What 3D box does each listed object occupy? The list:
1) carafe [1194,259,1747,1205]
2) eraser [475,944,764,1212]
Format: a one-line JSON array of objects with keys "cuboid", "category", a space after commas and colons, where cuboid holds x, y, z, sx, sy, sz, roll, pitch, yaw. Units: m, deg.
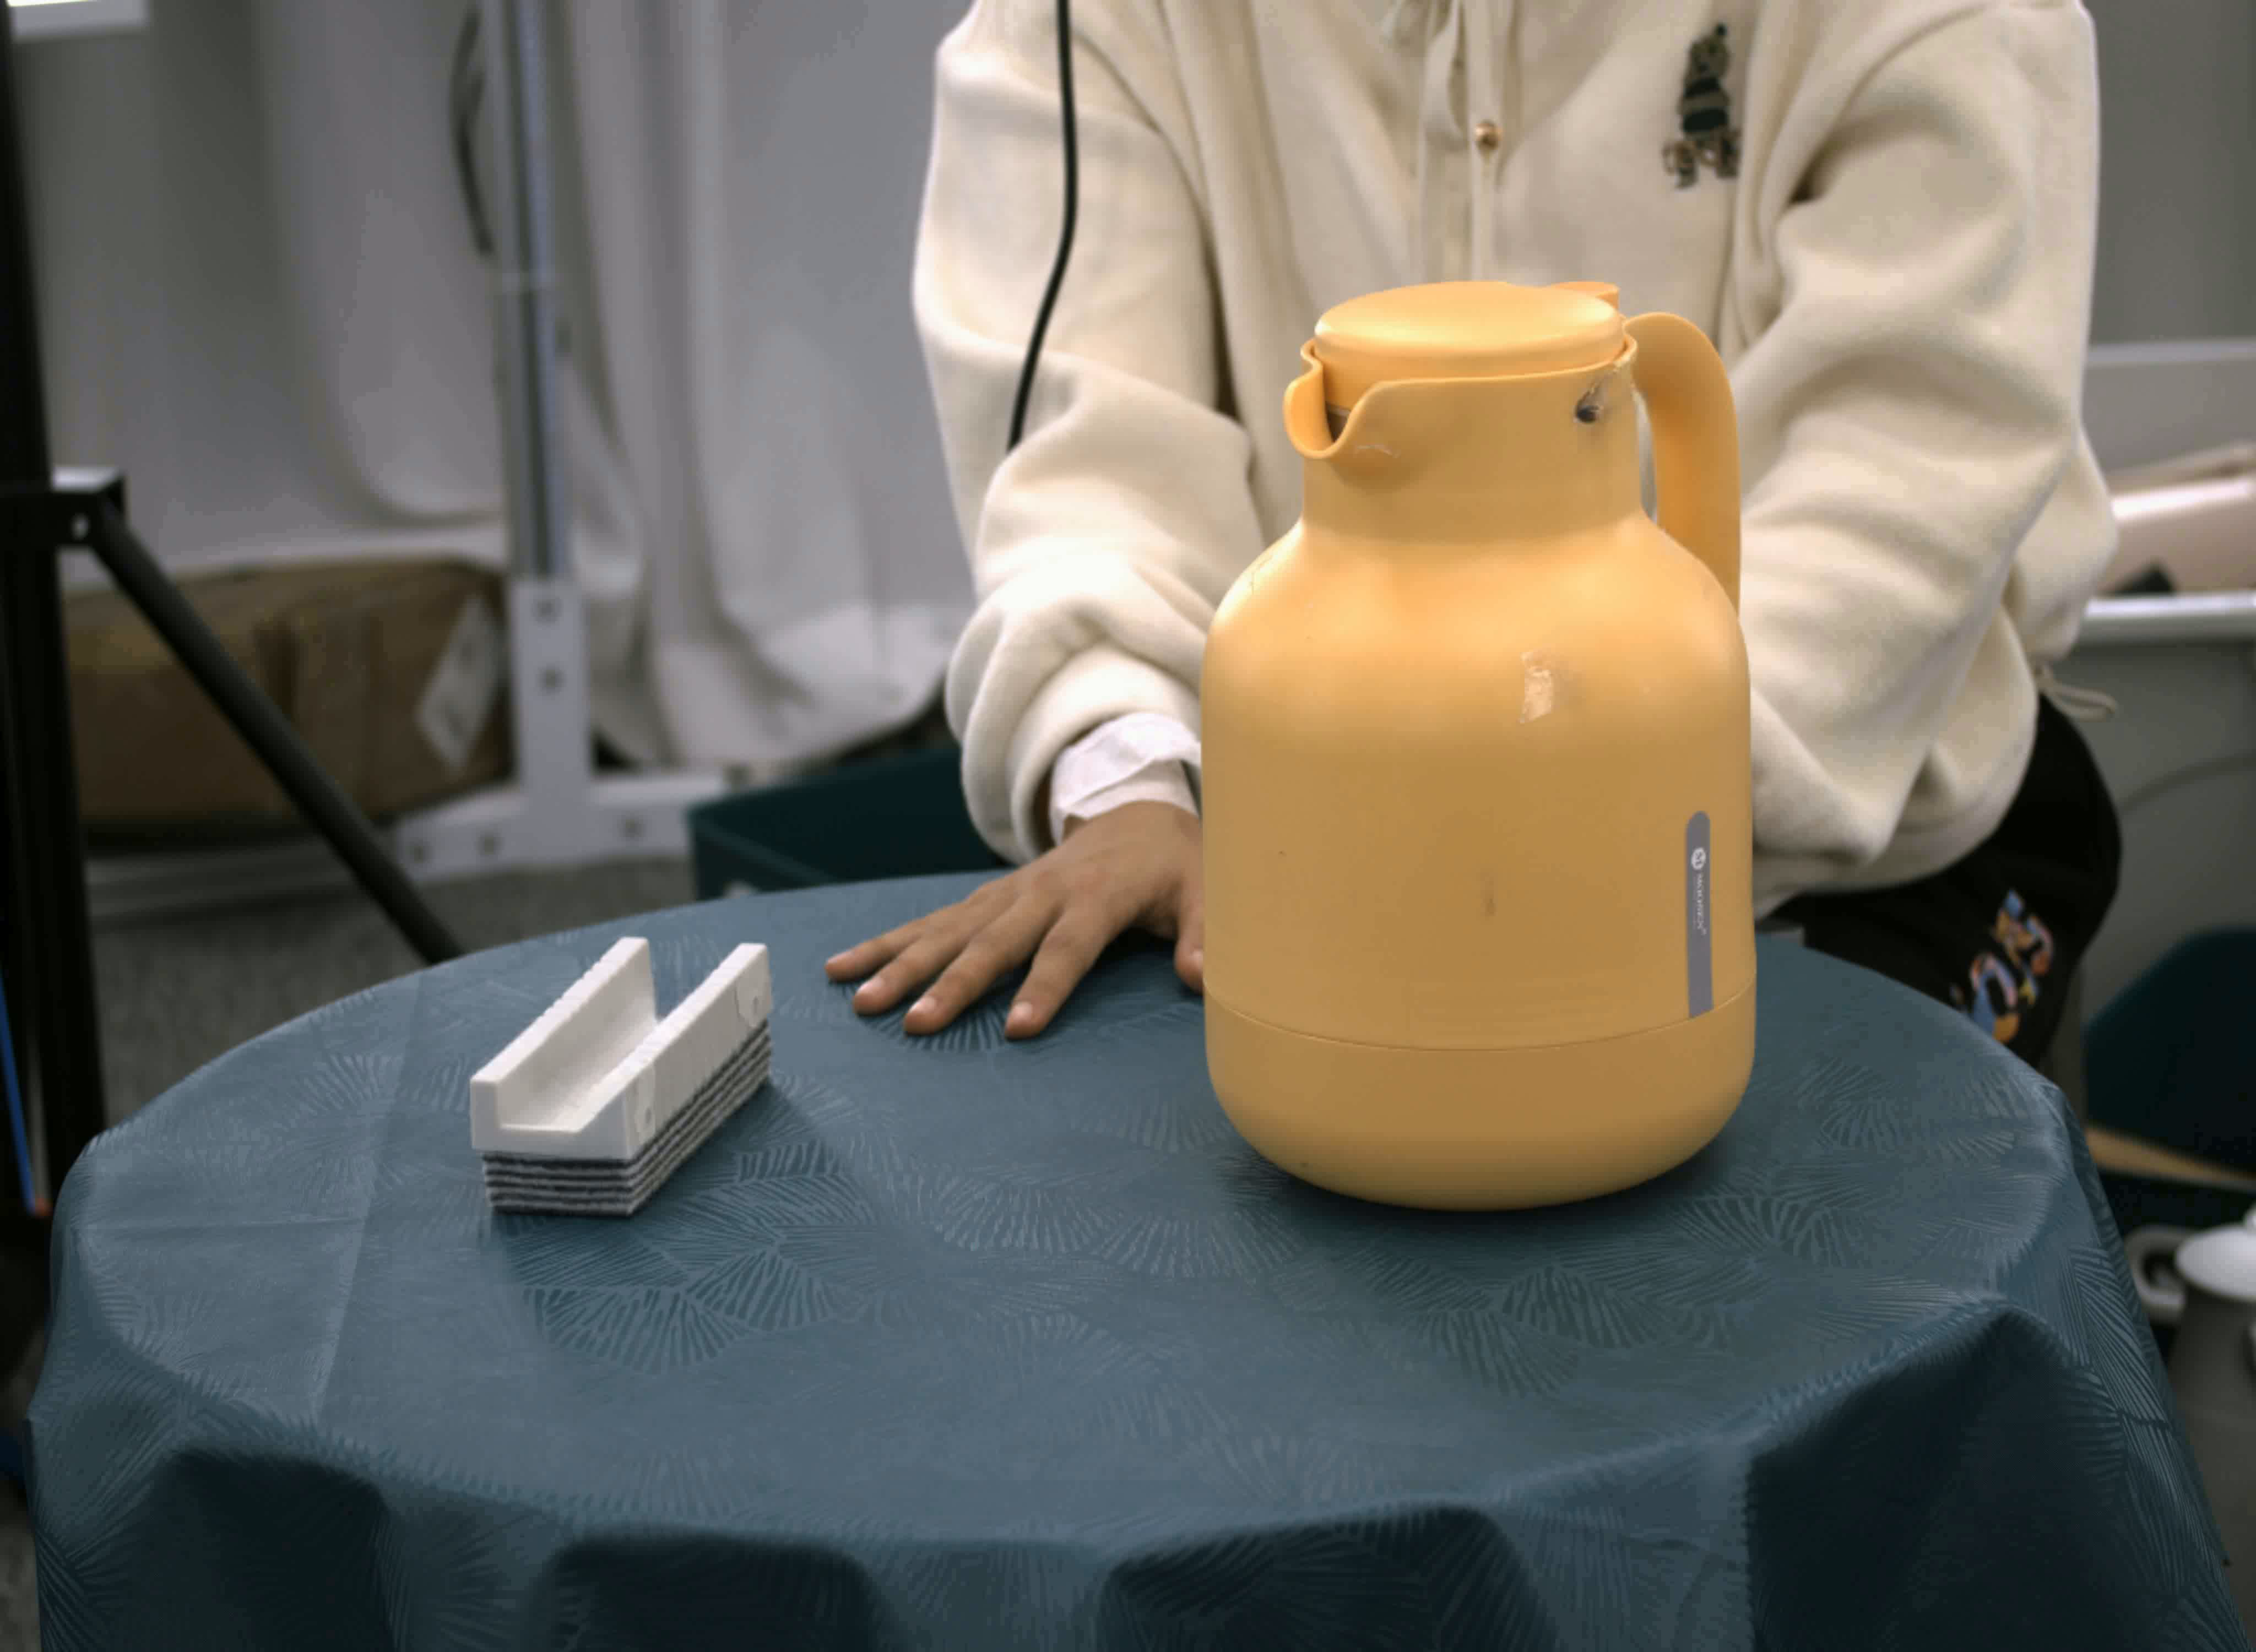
[{"cuboid": [0.113, -0.034, 1.556, 0.167, 0.260, 0.198, 16, 24, 40], "category": "carafe"}, {"cuboid": [-0.152, 0.075, 1.616, 0.050, 0.046, 0.133, -2, 16, 14], "category": "eraser"}]
